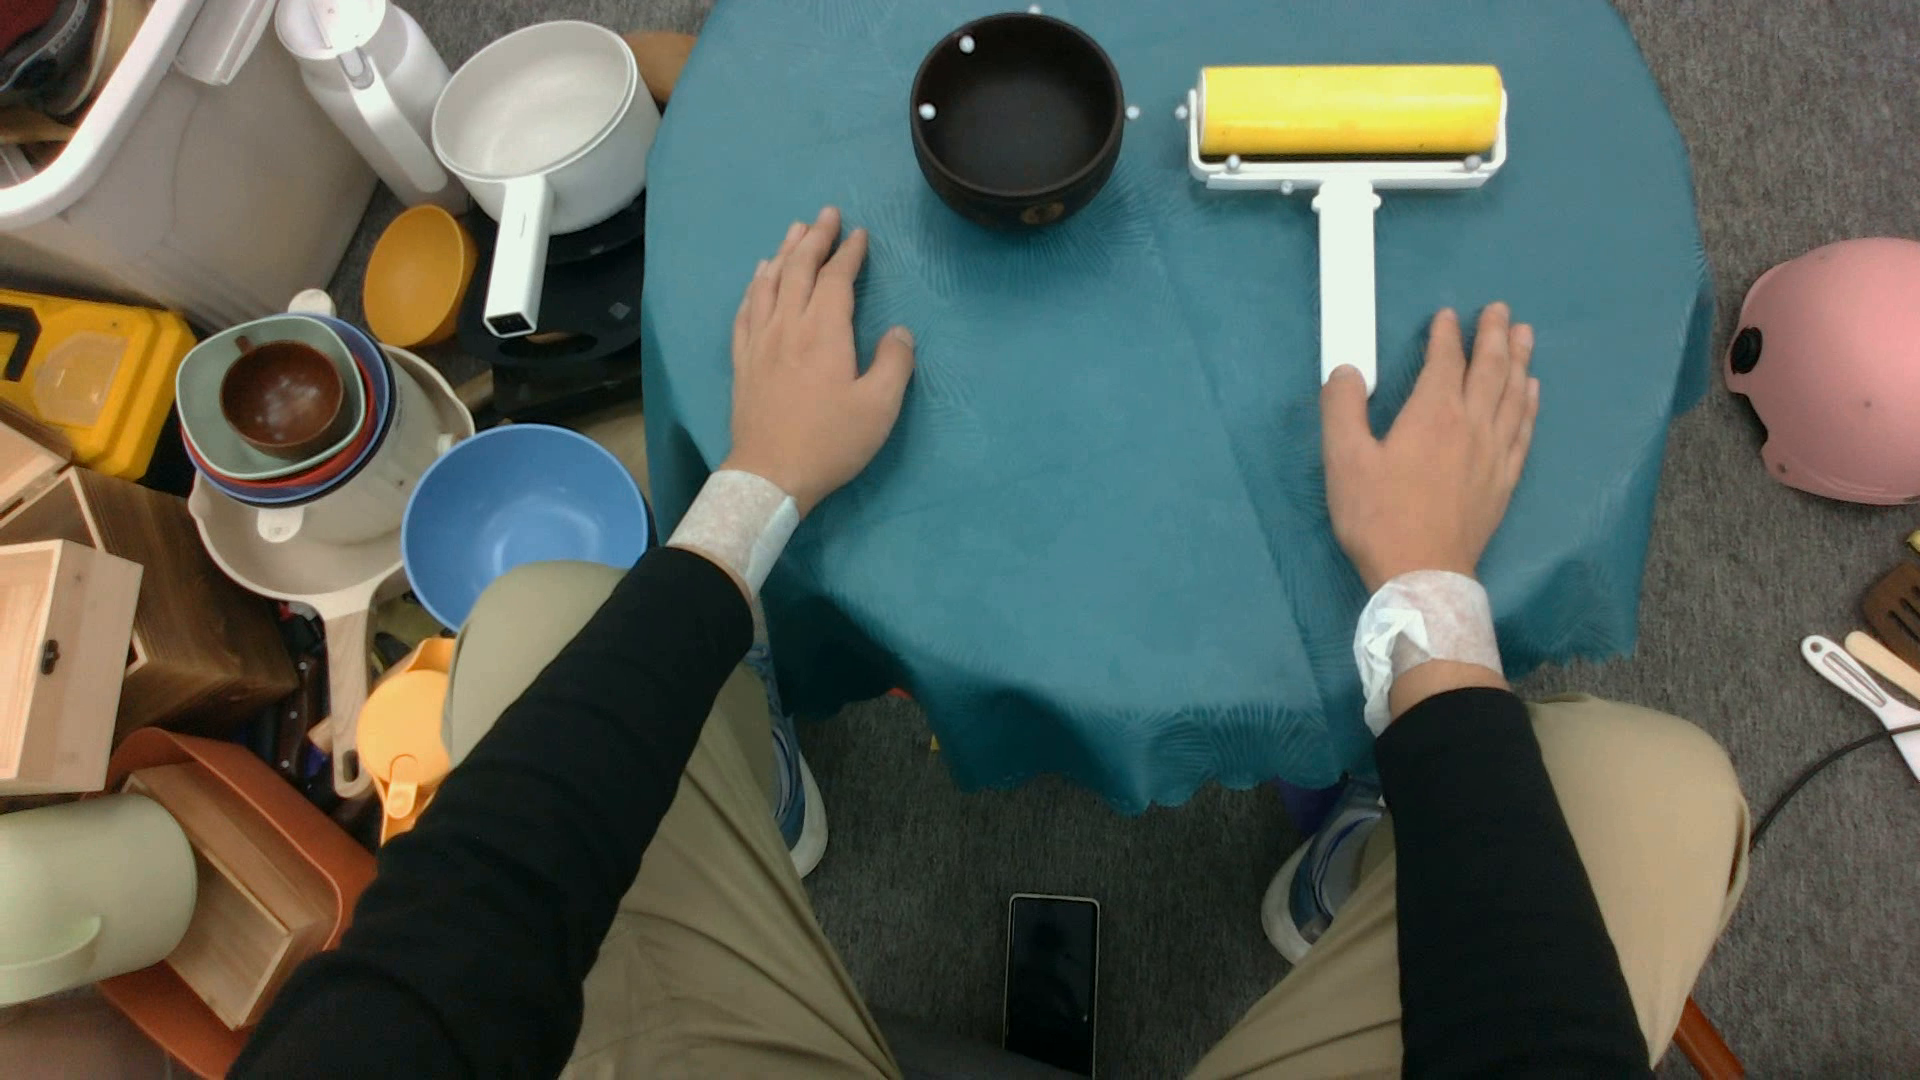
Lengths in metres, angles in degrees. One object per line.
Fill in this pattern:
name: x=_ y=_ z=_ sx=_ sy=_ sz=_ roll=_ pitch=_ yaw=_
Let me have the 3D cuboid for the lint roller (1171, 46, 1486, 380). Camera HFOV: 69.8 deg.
lint roller: x=0.208 y=-0.184 z=0.758 sx=0.174 sy=0.051 sz=0.192 roll=-1 pitch=69 yaw=2

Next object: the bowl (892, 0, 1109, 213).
bowl: x=0.023 y=-0.234 z=0.766 sx=0.118 sy=0.069 sz=0.118 roll=-1 pitch=73 yaw=2
